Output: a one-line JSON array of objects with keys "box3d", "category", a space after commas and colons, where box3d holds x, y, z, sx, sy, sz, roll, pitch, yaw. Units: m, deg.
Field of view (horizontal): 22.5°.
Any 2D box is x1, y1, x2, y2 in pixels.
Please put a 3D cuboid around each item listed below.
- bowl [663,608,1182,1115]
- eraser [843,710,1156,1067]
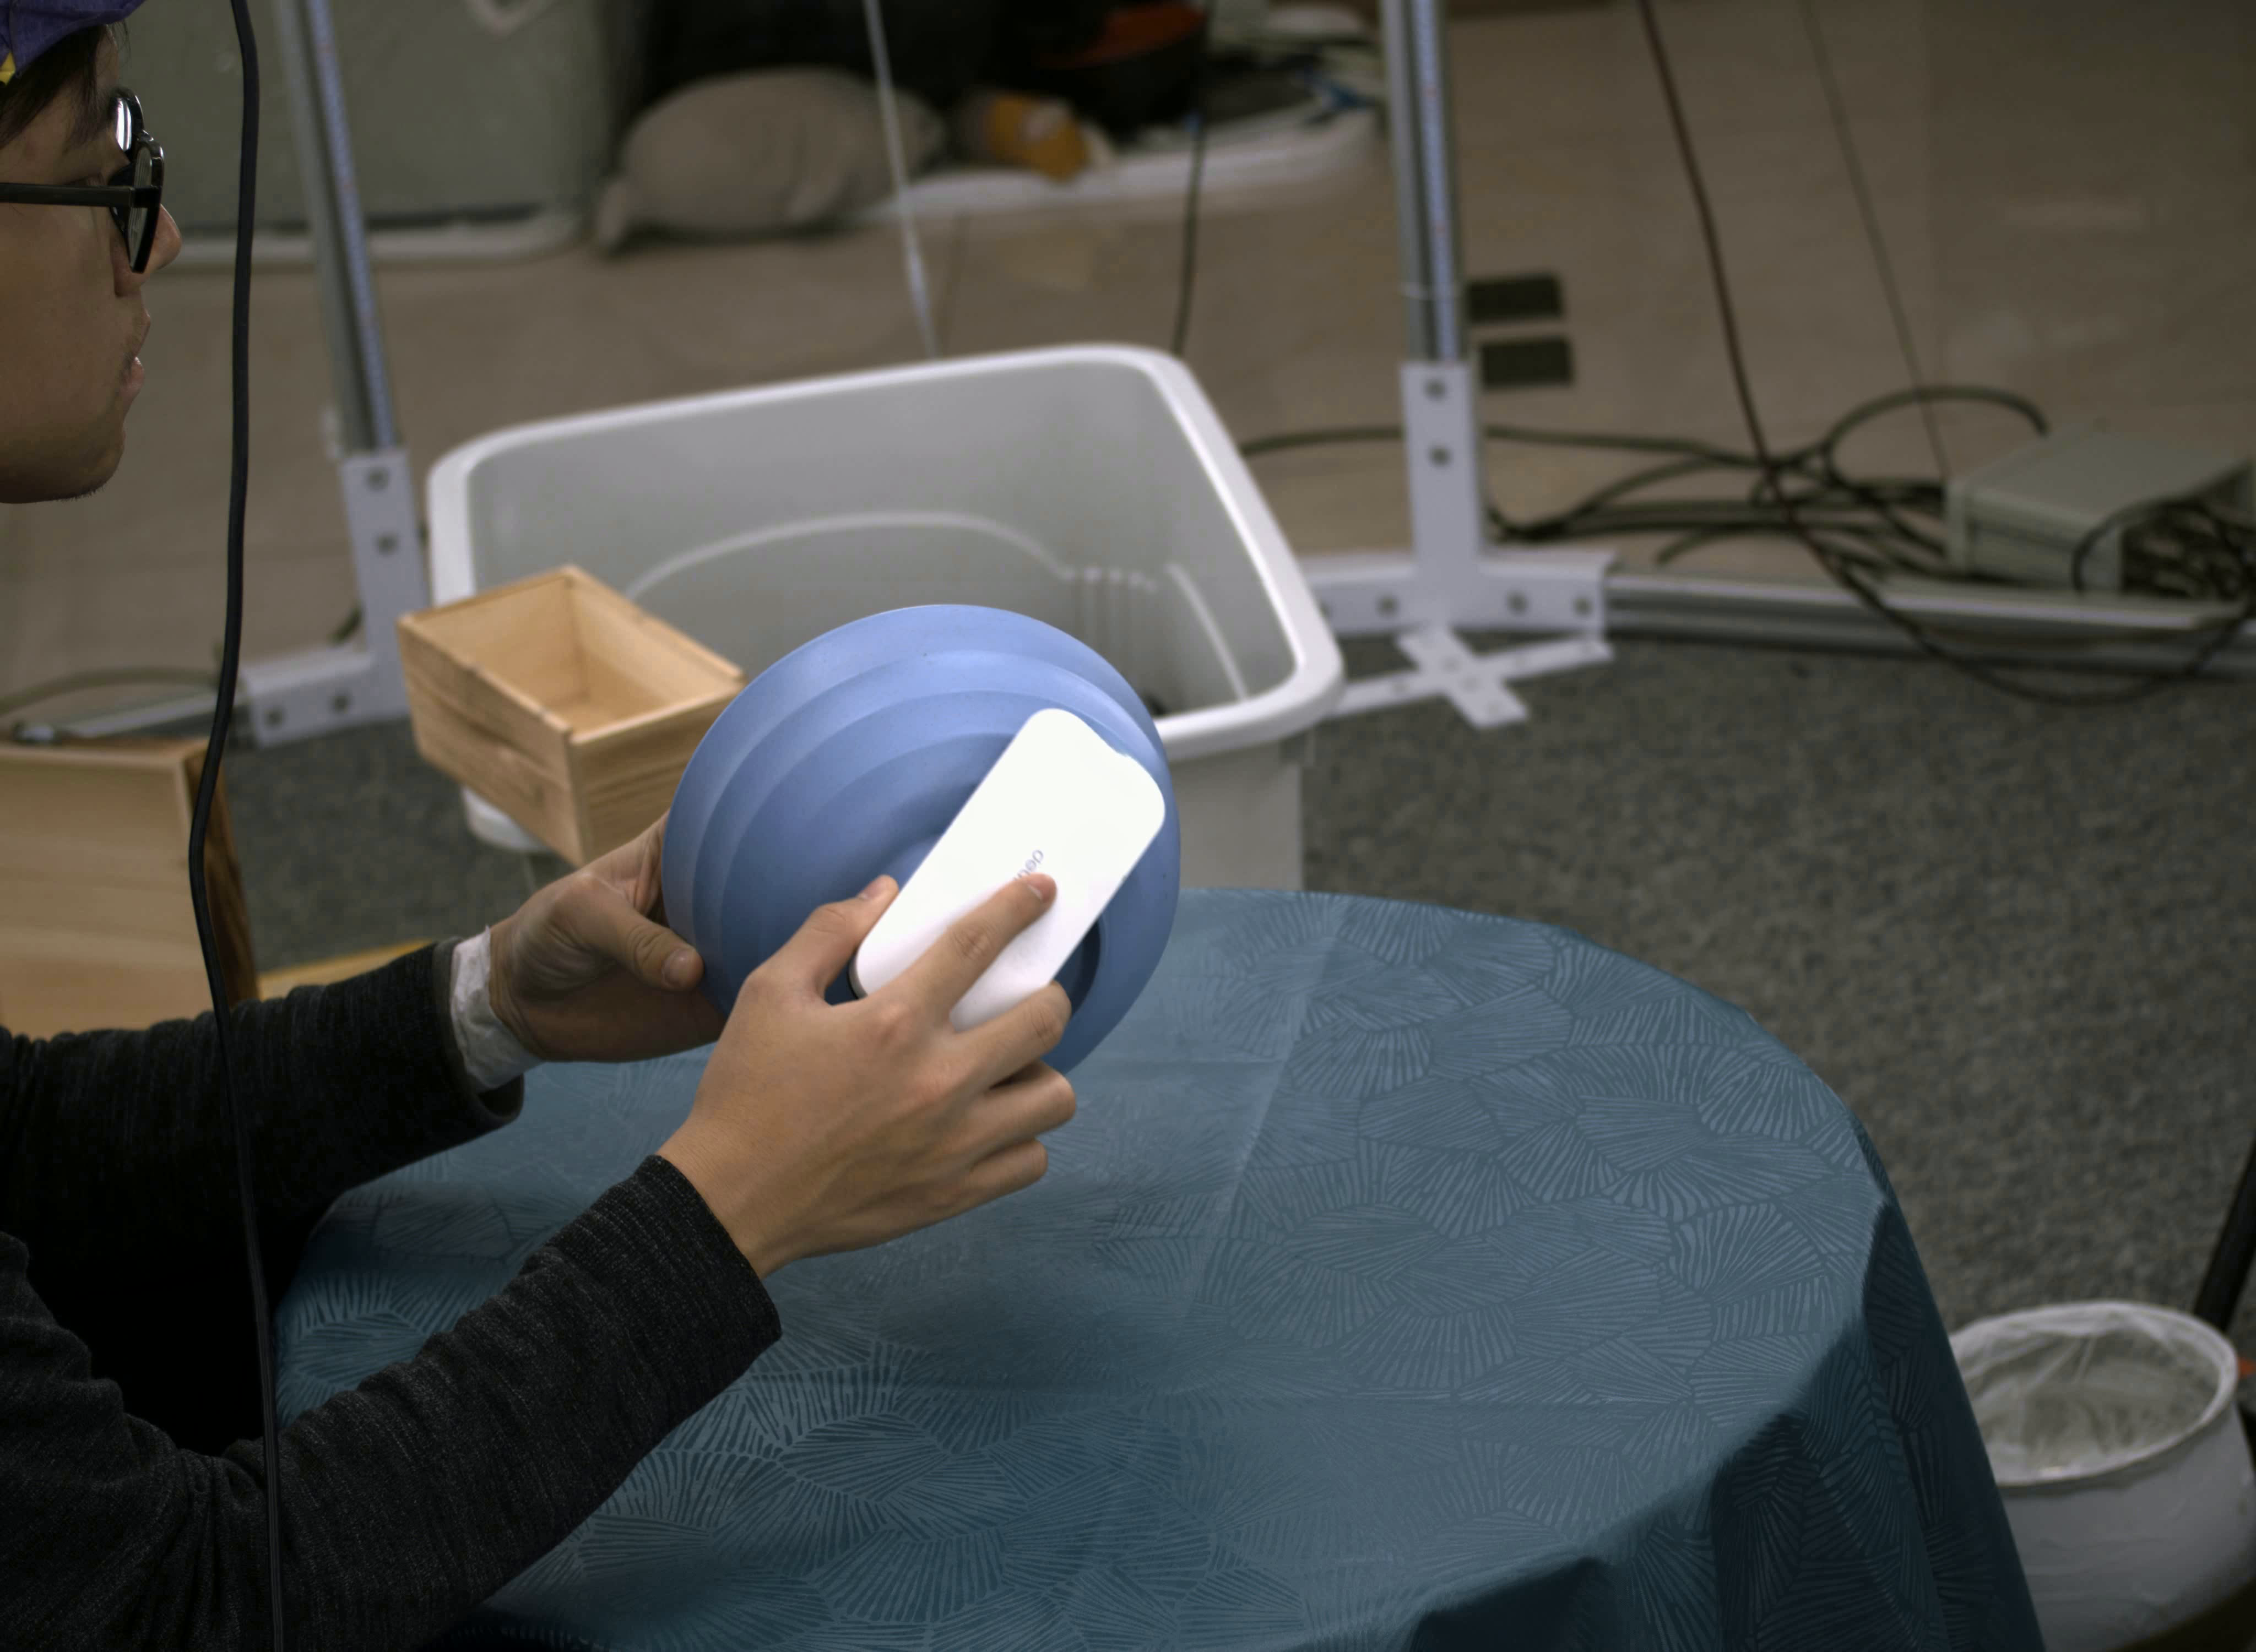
[{"box3d": [-0.064, 0.029, 2.059, 0.196, 0.200, 0.094, -12, 31, -12], "category": "bowl"}, {"box3d": [-0.046, 0.021, 1.981, 0.130, 0.063, 0.035, -54, 7, -23], "category": "eraser"}]
